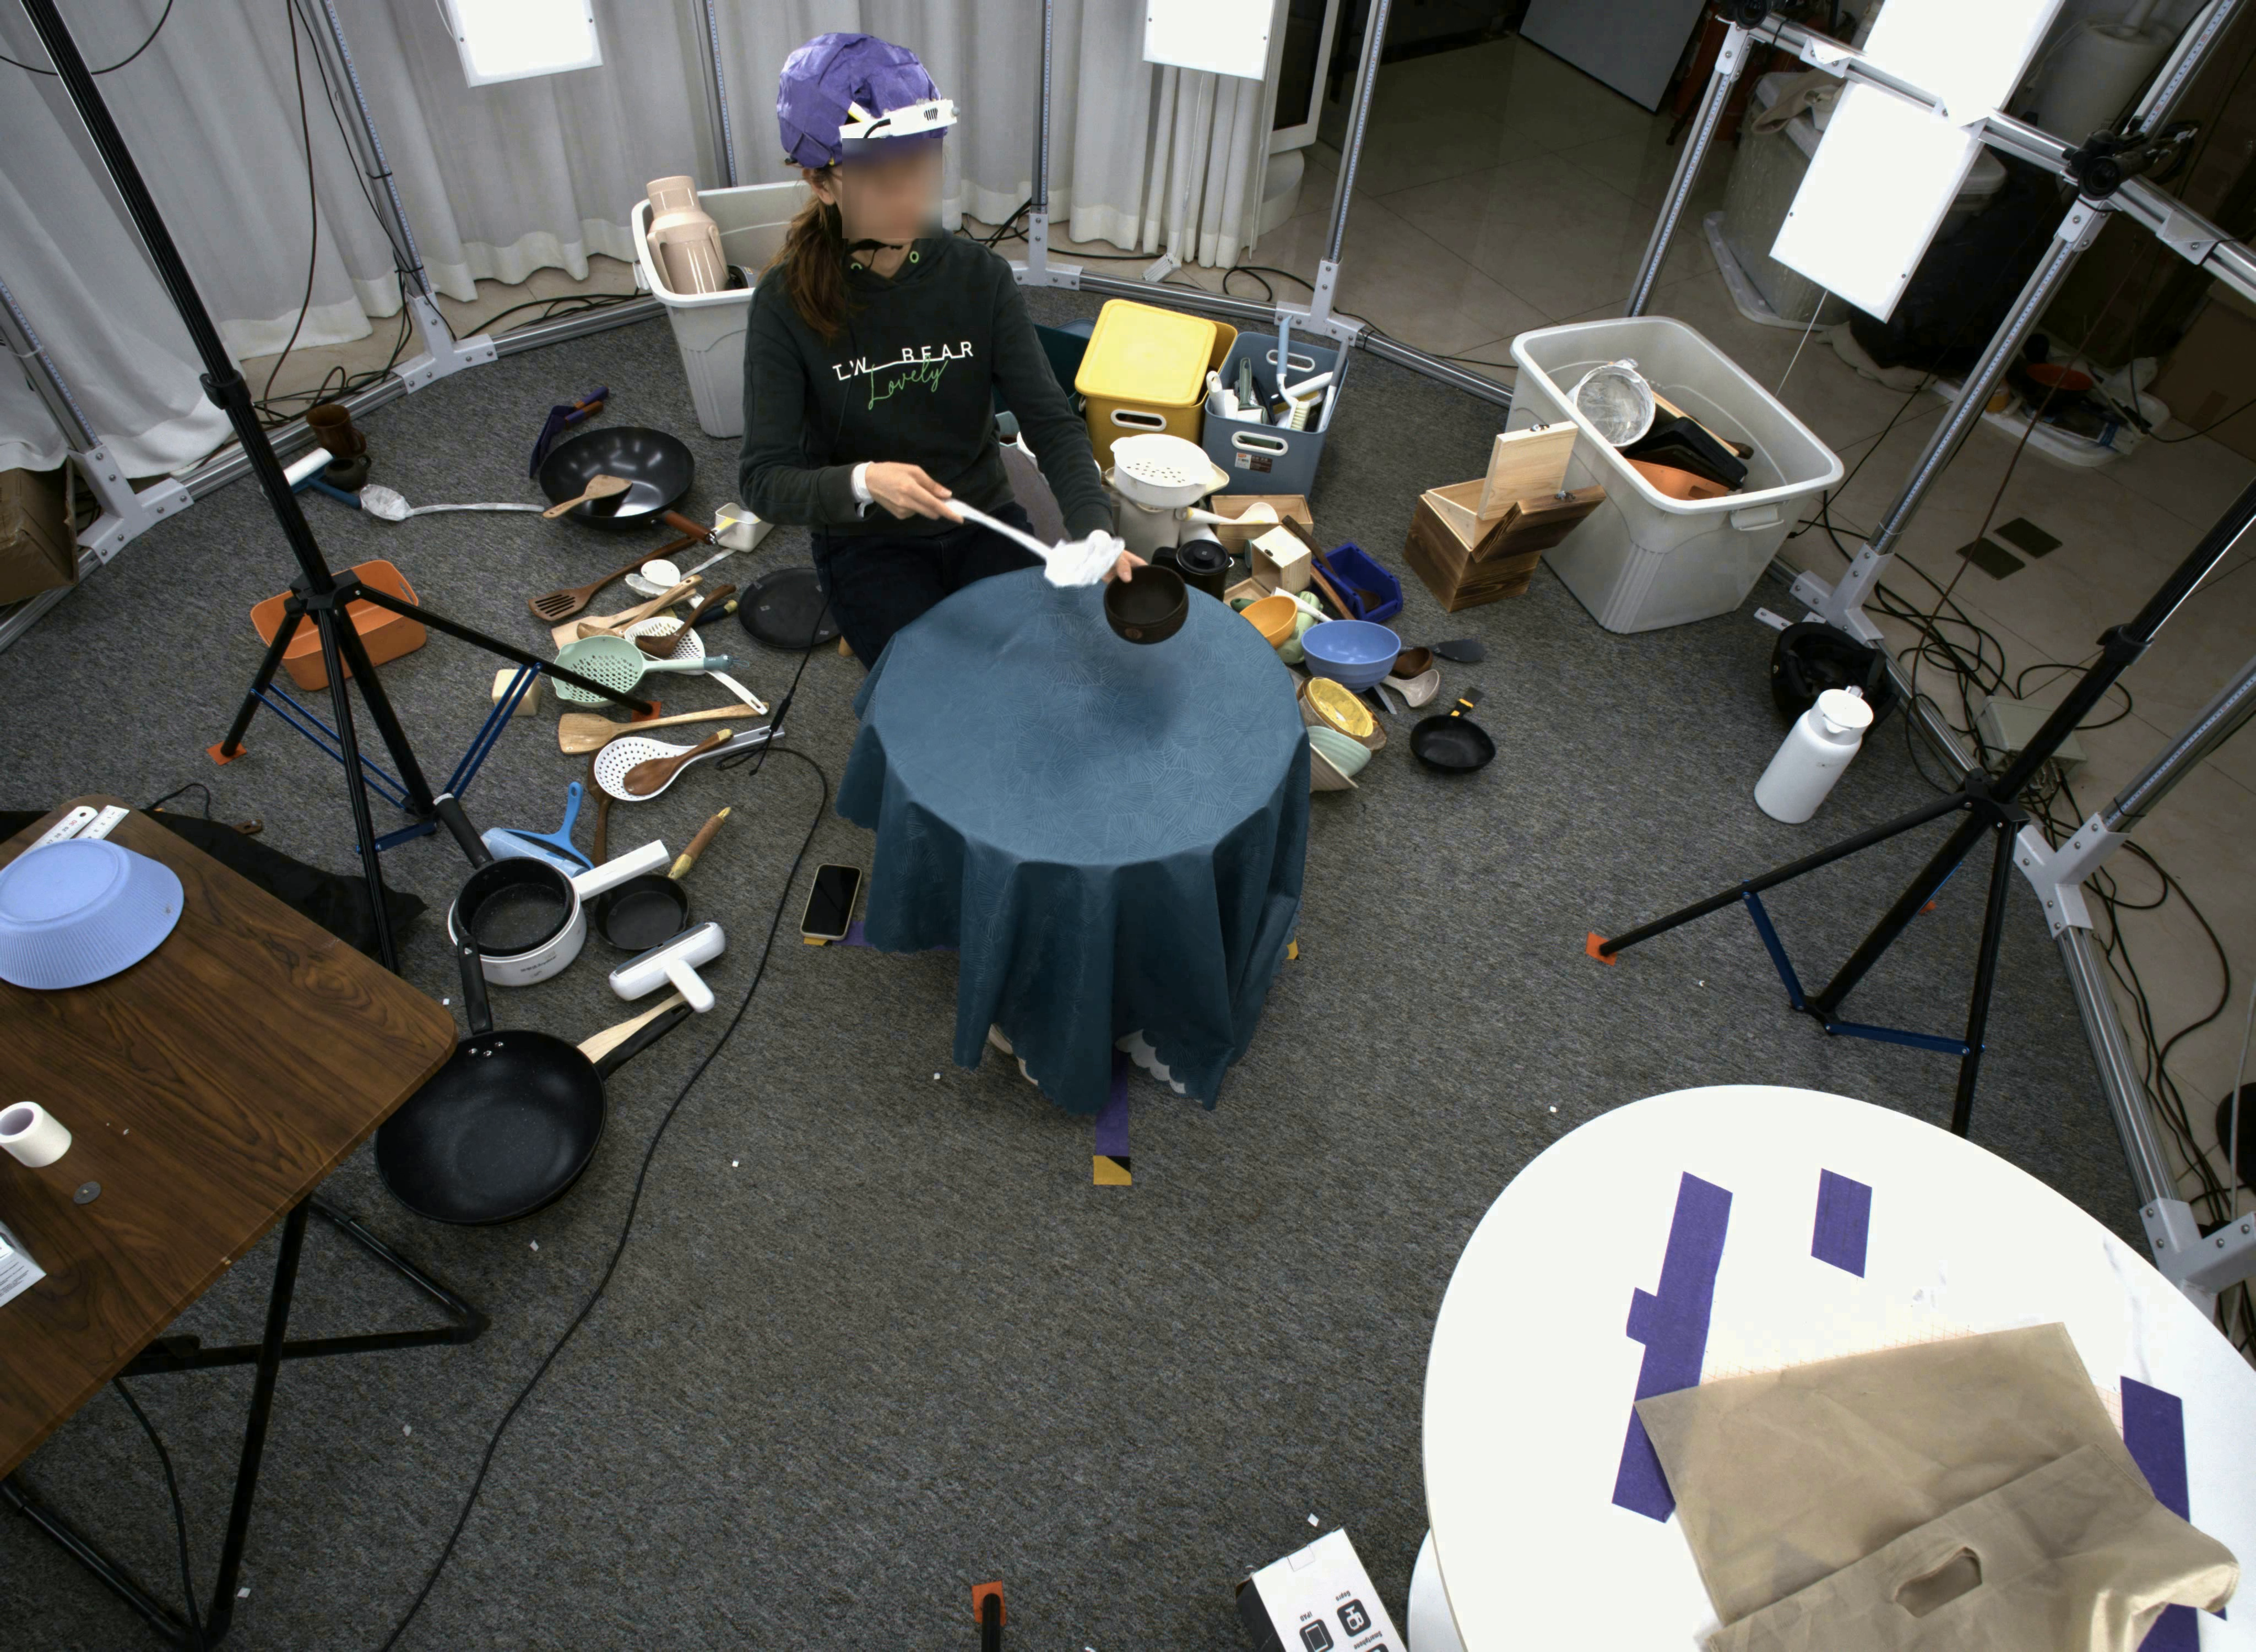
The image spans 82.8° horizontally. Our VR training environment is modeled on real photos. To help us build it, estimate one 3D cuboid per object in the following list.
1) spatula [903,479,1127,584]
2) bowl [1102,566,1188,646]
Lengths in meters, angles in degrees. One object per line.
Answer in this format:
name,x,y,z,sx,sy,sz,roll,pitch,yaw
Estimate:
spatula,-0.169,-0.412,1.749,0.368,0.044,0.100,27,63,19
bowl,0.026,-0.300,1.802,0.118,0.068,0.121,-5,52,6
